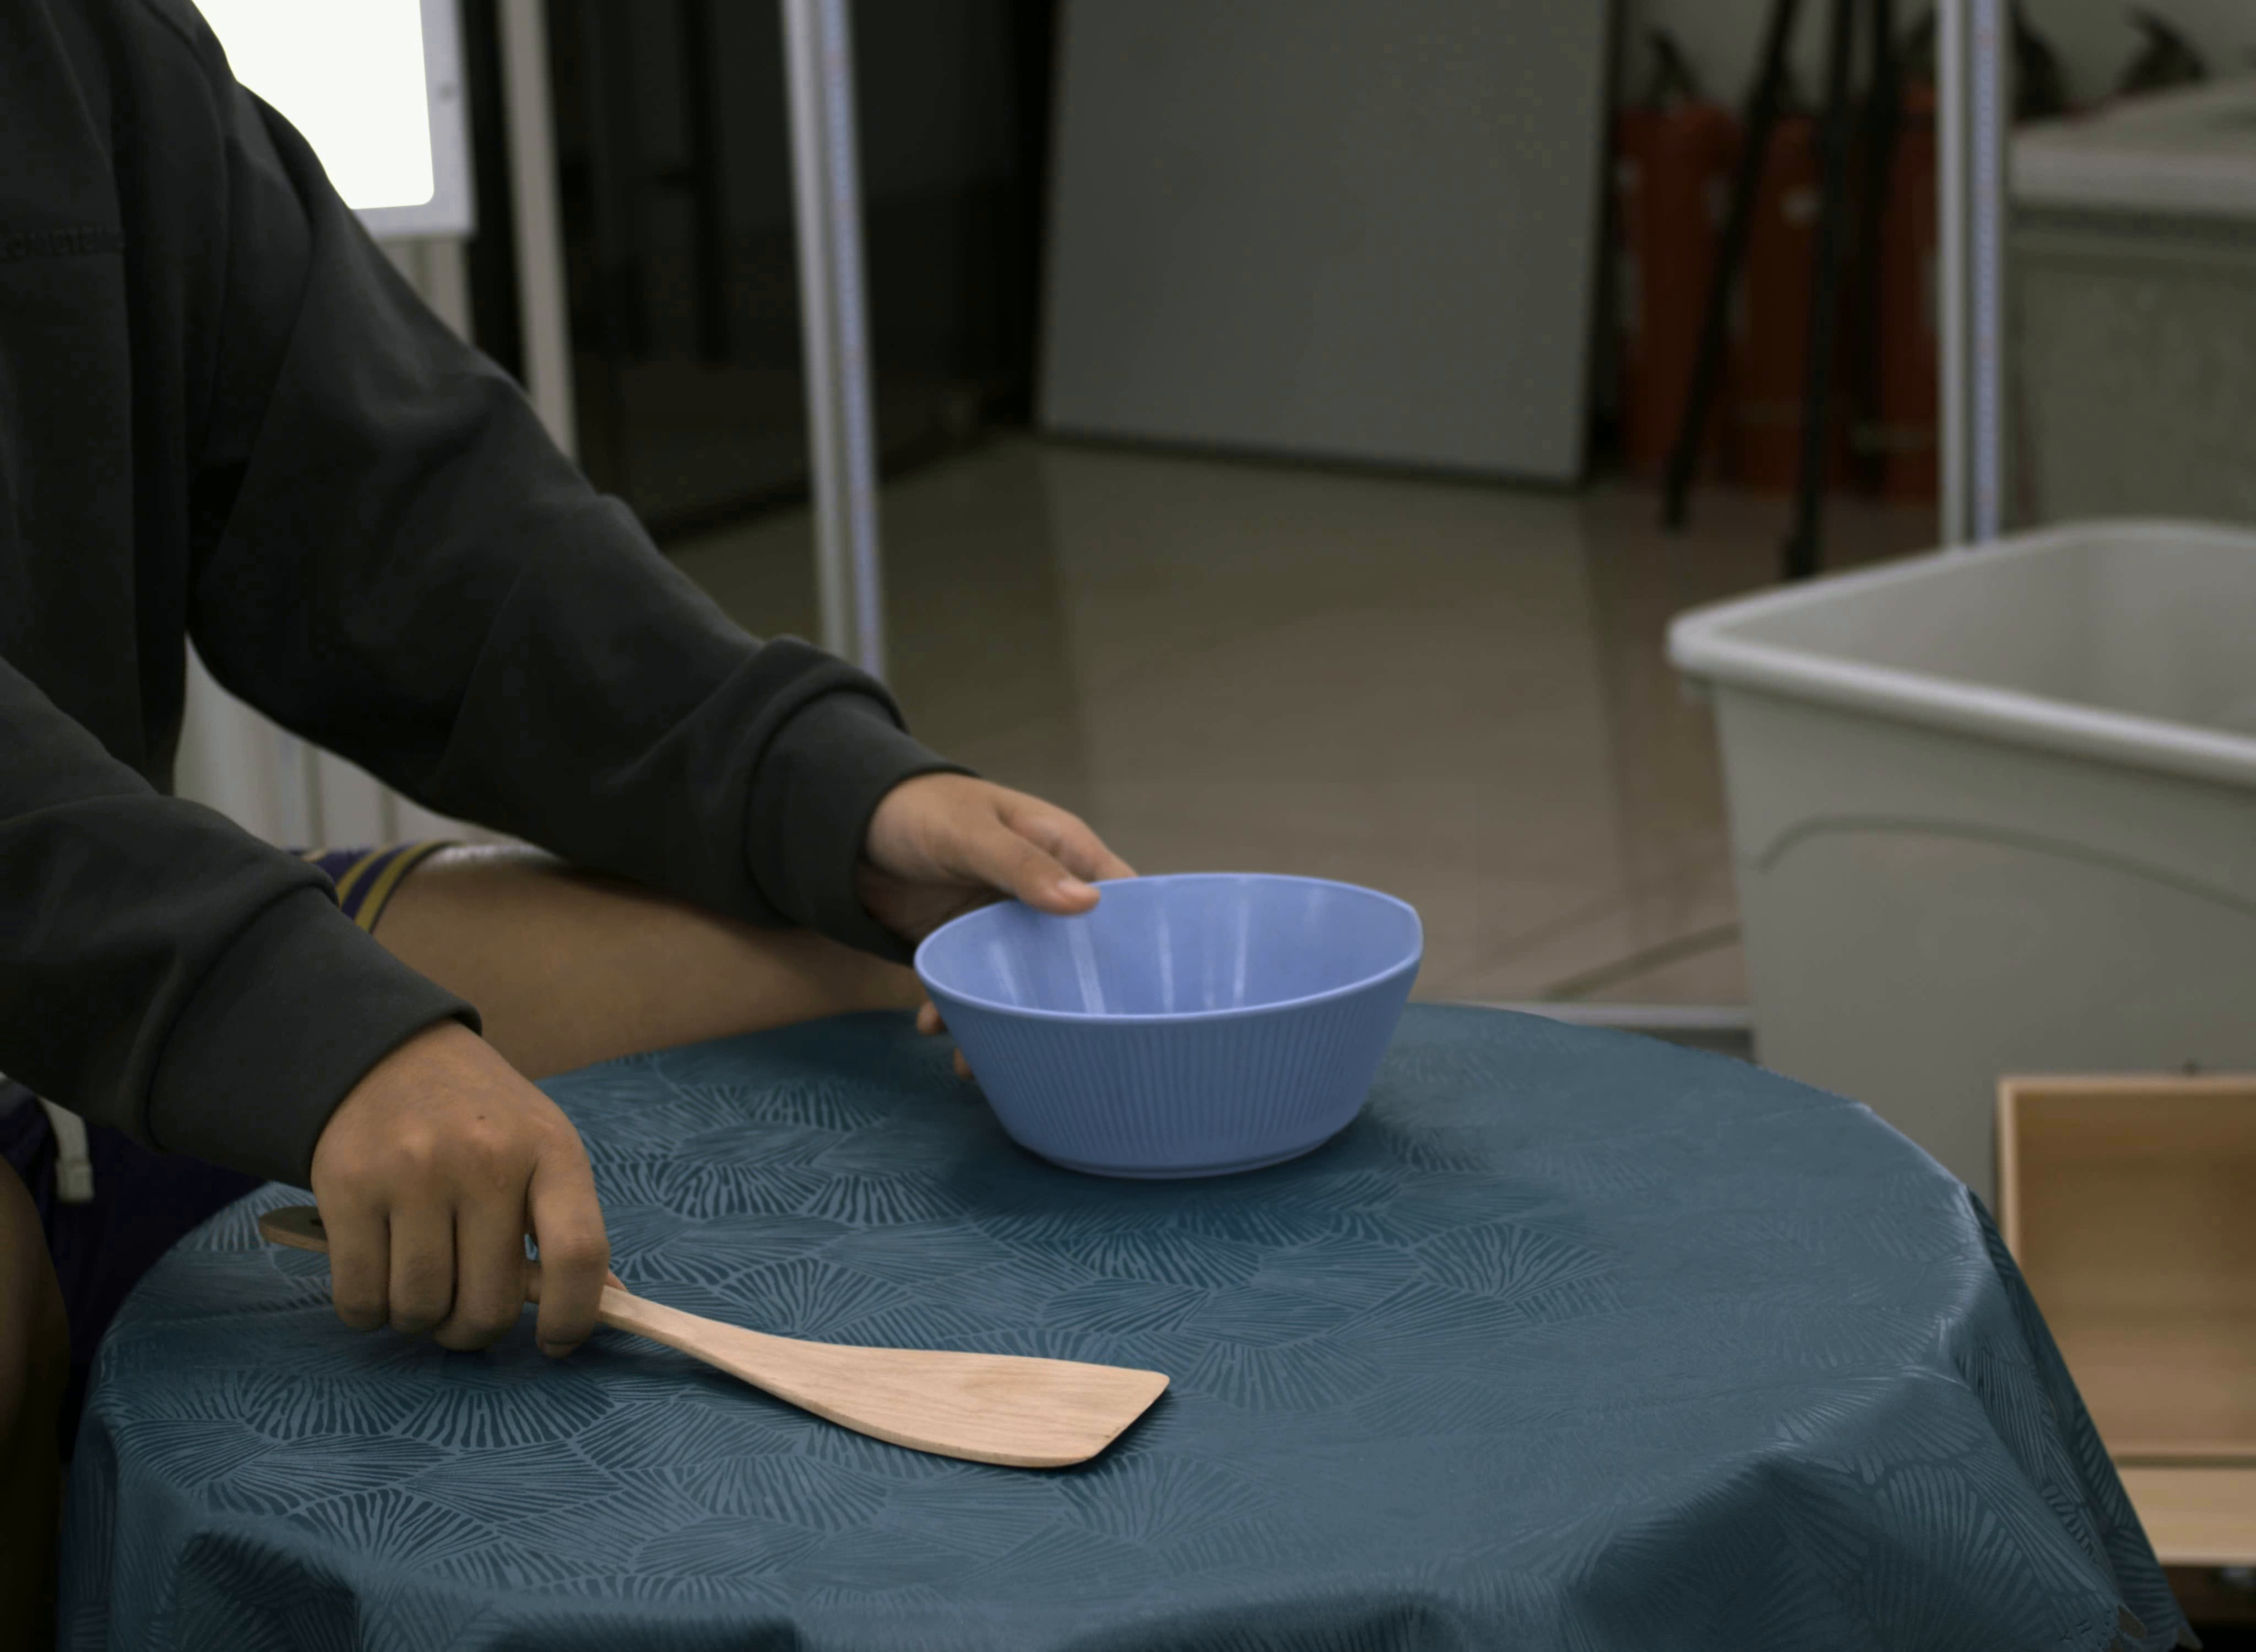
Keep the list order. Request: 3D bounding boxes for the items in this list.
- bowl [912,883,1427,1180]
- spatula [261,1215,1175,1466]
[{"bbox_3d":[0.015,0.071,1.821,0.174,0.071,0.176,-4,14,0],"label":"bowl"},{"bbox_3d":[-0.131,0.149,1.628,0.329,0.017,0.078,11,19,31],"label":"spatula"}]
